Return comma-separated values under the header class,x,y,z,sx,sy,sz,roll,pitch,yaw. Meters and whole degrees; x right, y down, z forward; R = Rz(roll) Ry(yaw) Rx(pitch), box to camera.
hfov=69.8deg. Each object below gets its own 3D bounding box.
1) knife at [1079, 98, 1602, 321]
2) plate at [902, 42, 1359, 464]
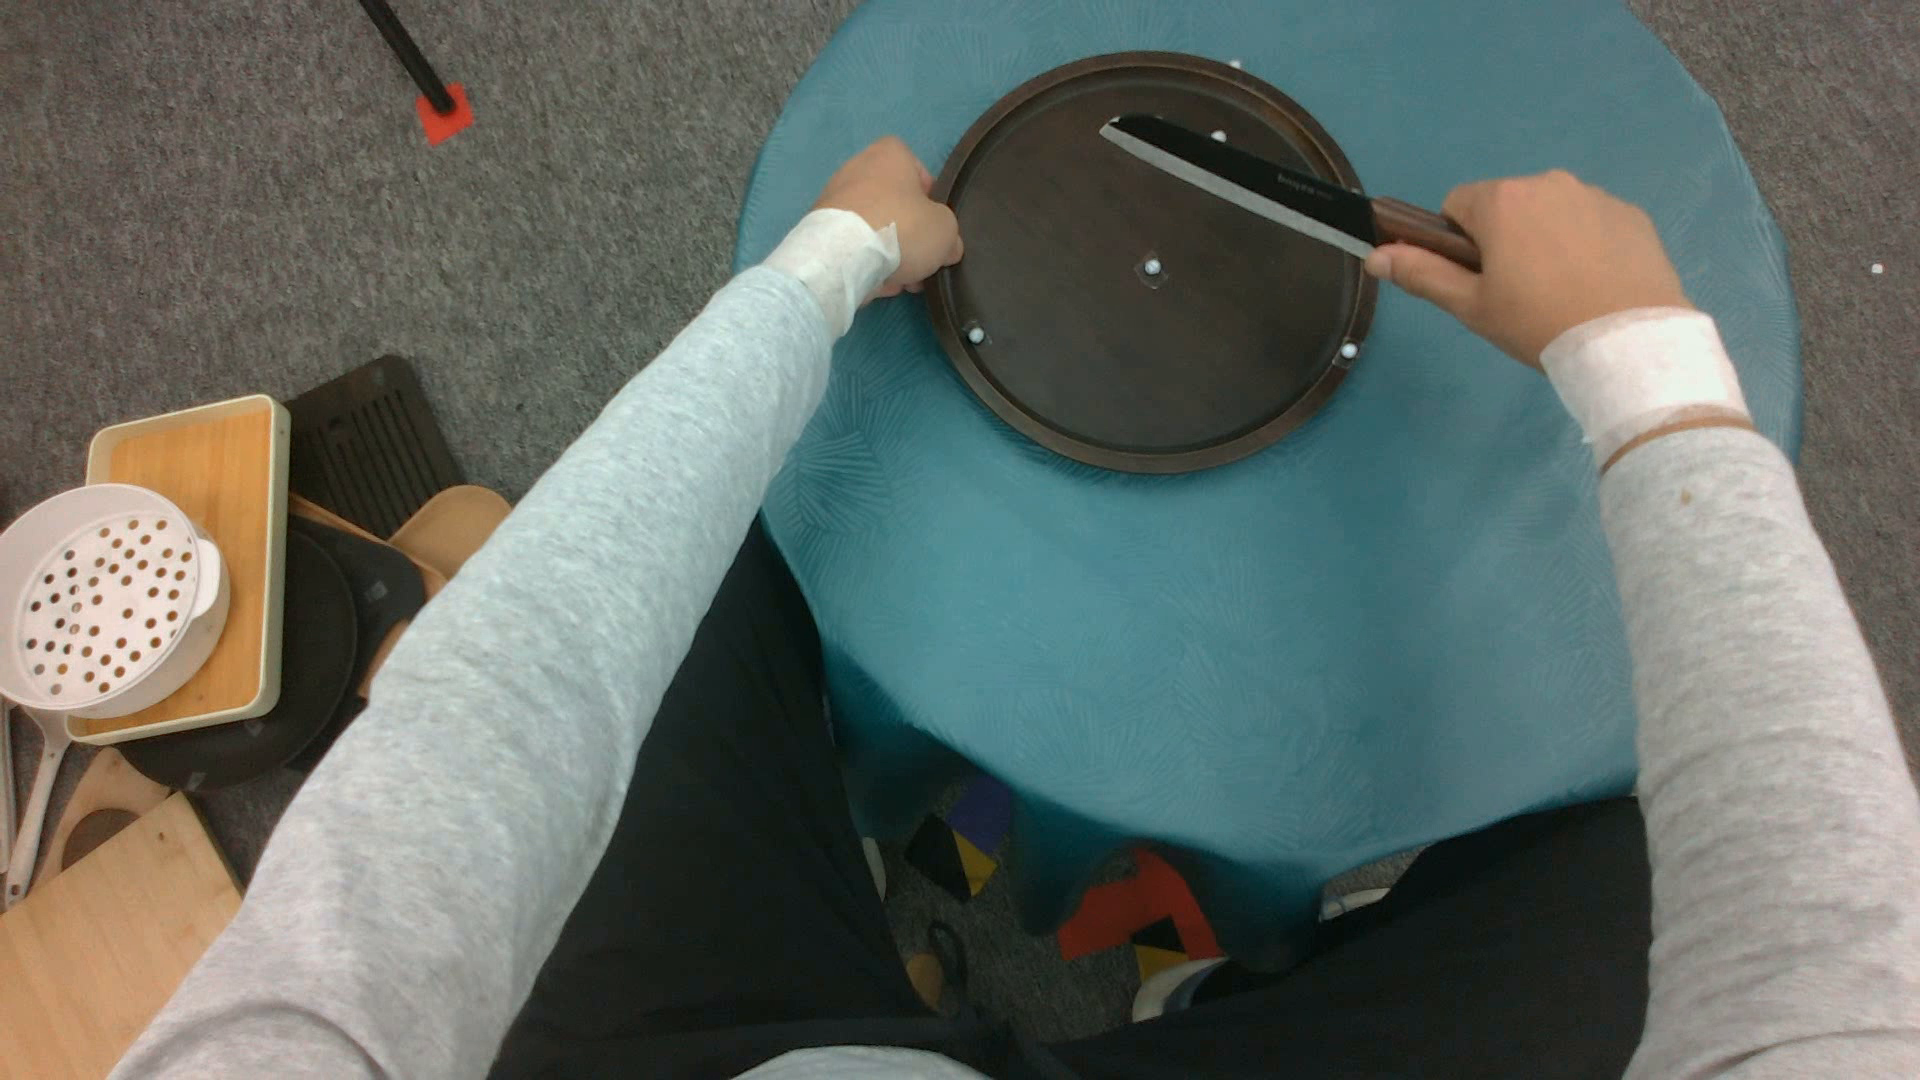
class,x,y,z,sx,sy,sz,roll,pitch,yaw
knife,0.178,-0.171,0.695,0.289,0.050,0.020,29,70,26
plate,0.094,-0.162,0.768,0.255,0.029,0.255,0,77,-2
